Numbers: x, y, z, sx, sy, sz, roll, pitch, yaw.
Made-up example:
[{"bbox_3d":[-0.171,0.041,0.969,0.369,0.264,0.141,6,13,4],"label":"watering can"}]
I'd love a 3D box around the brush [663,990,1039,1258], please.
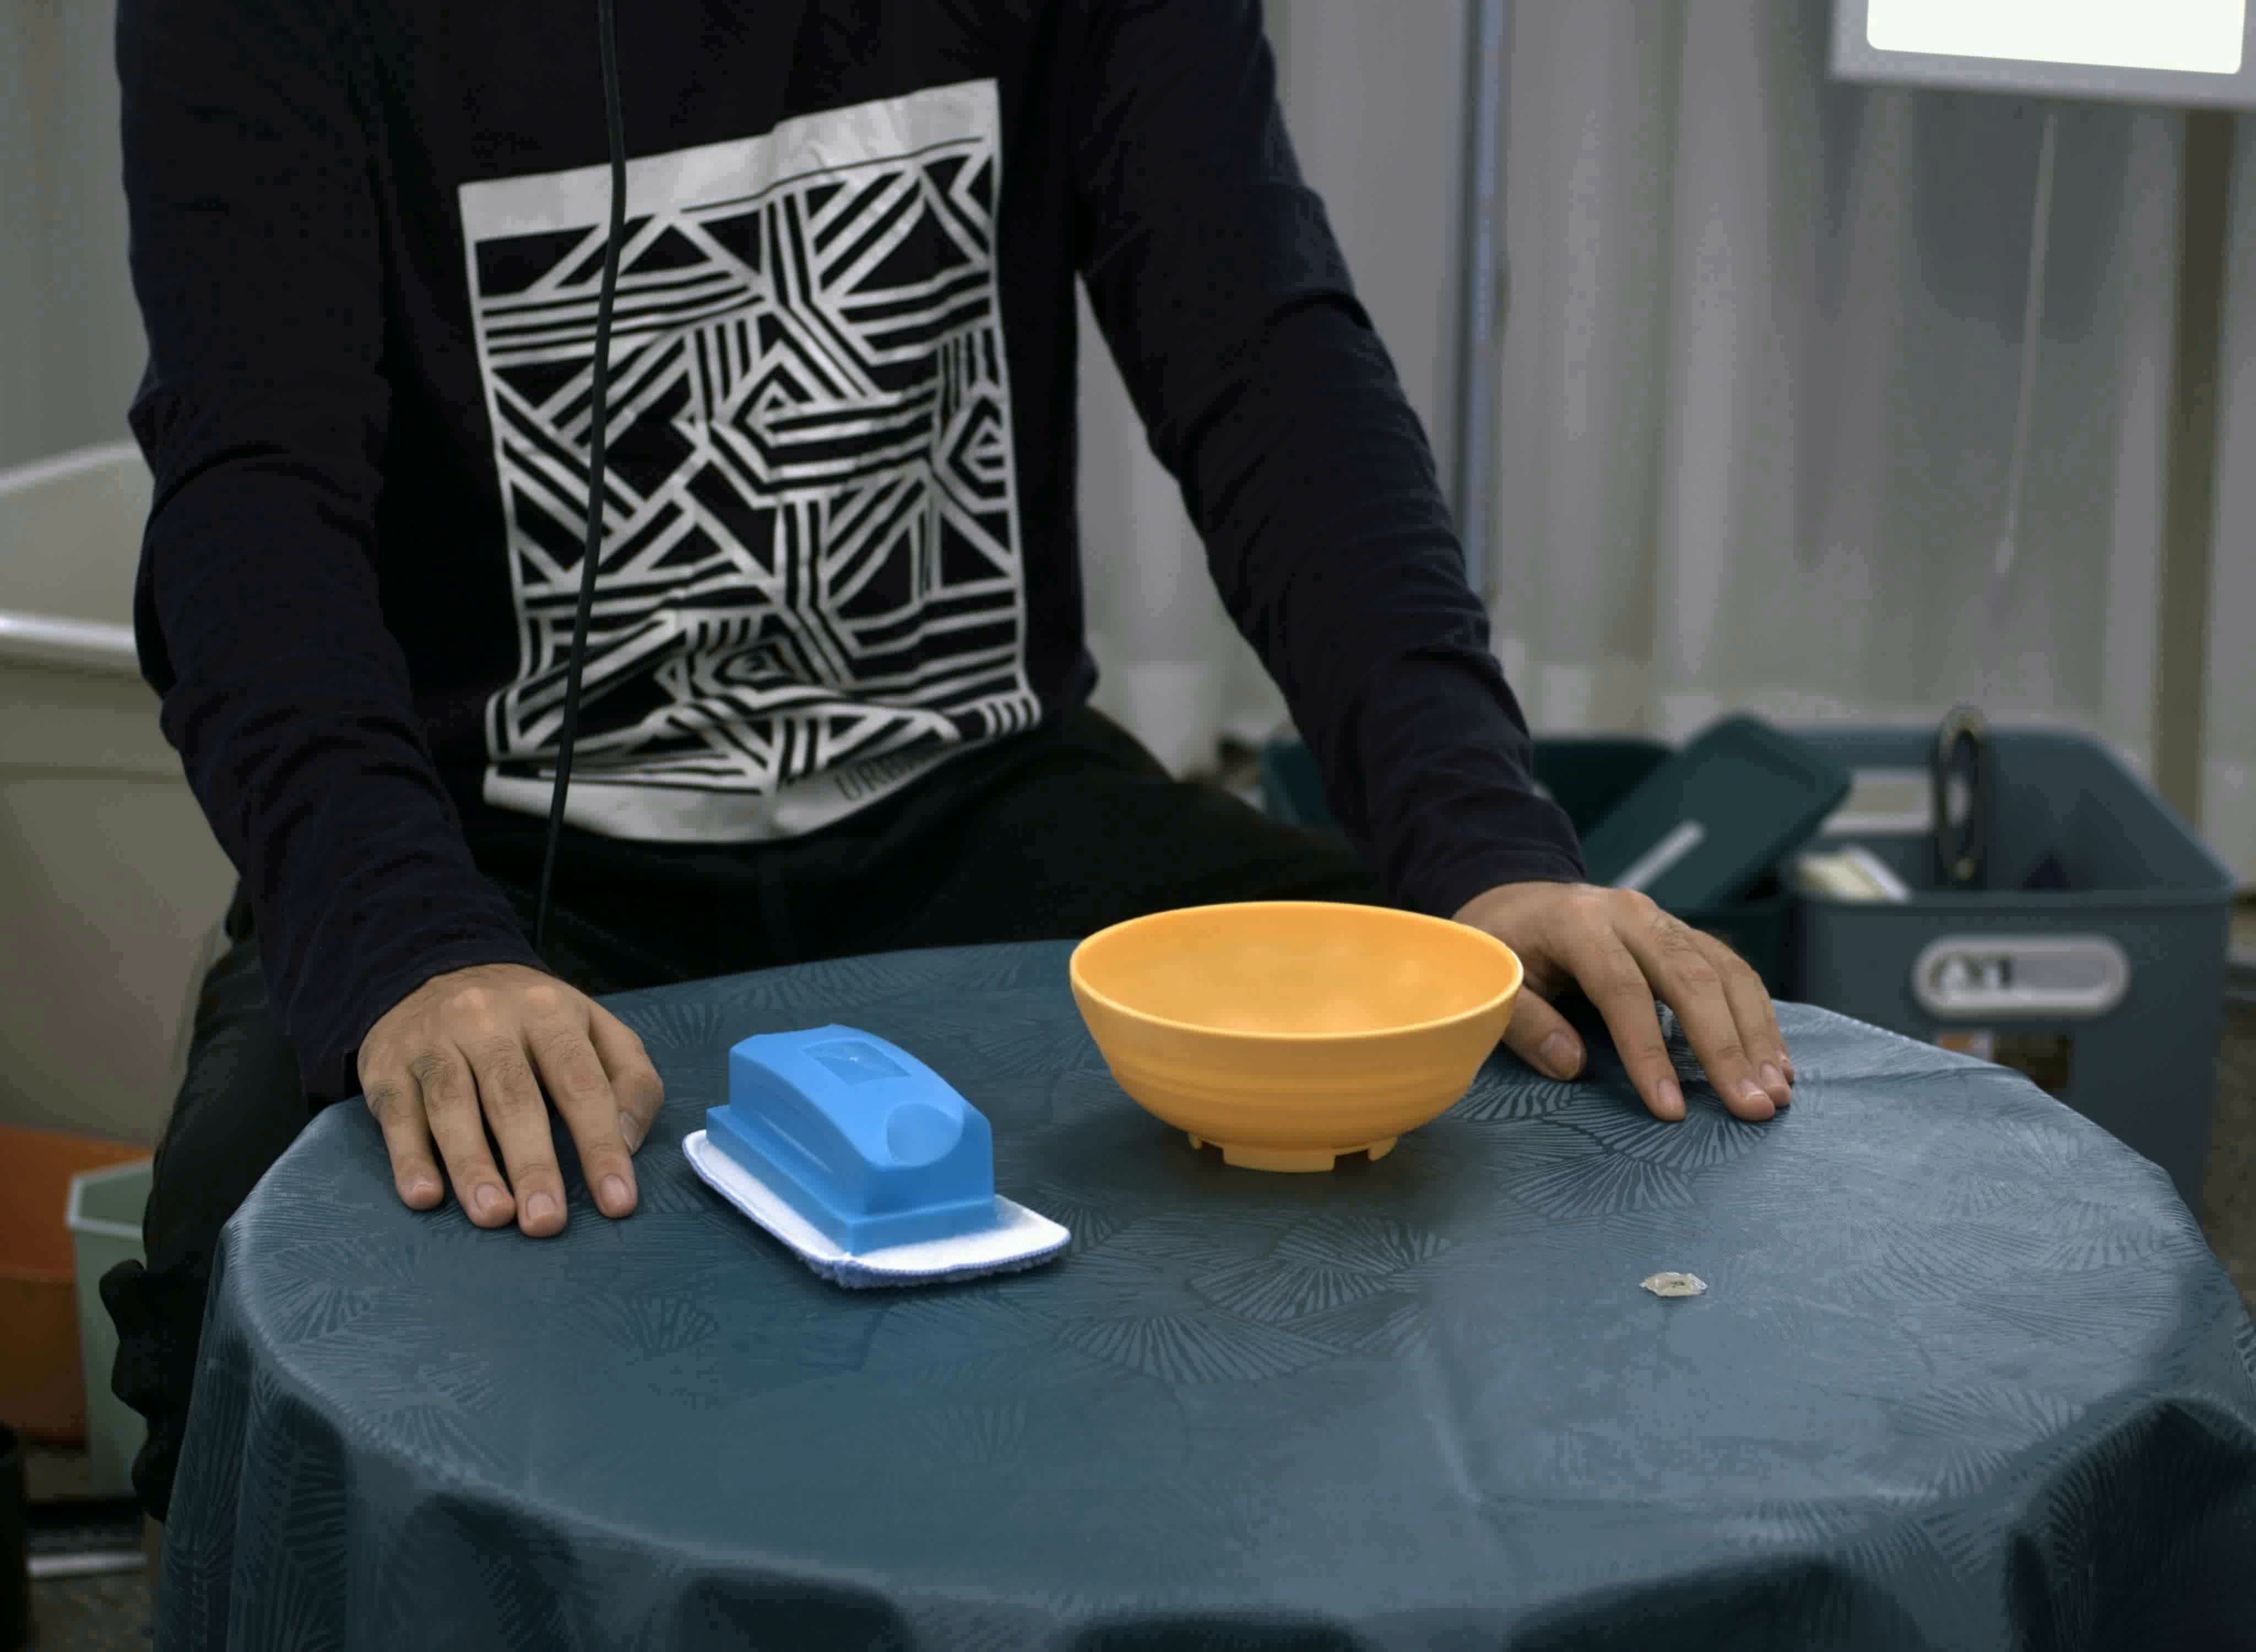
[{"bbox_3d":[-0.083,0.088,1.596,0.084,0.056,0.142,-2,18,-24],"label":"brush"}]

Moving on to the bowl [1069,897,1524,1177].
[{"bbox_3d":[0.052,0.072,1.668,0.145,0.060,0.144,2,17,0],"label":"bowl"}]
